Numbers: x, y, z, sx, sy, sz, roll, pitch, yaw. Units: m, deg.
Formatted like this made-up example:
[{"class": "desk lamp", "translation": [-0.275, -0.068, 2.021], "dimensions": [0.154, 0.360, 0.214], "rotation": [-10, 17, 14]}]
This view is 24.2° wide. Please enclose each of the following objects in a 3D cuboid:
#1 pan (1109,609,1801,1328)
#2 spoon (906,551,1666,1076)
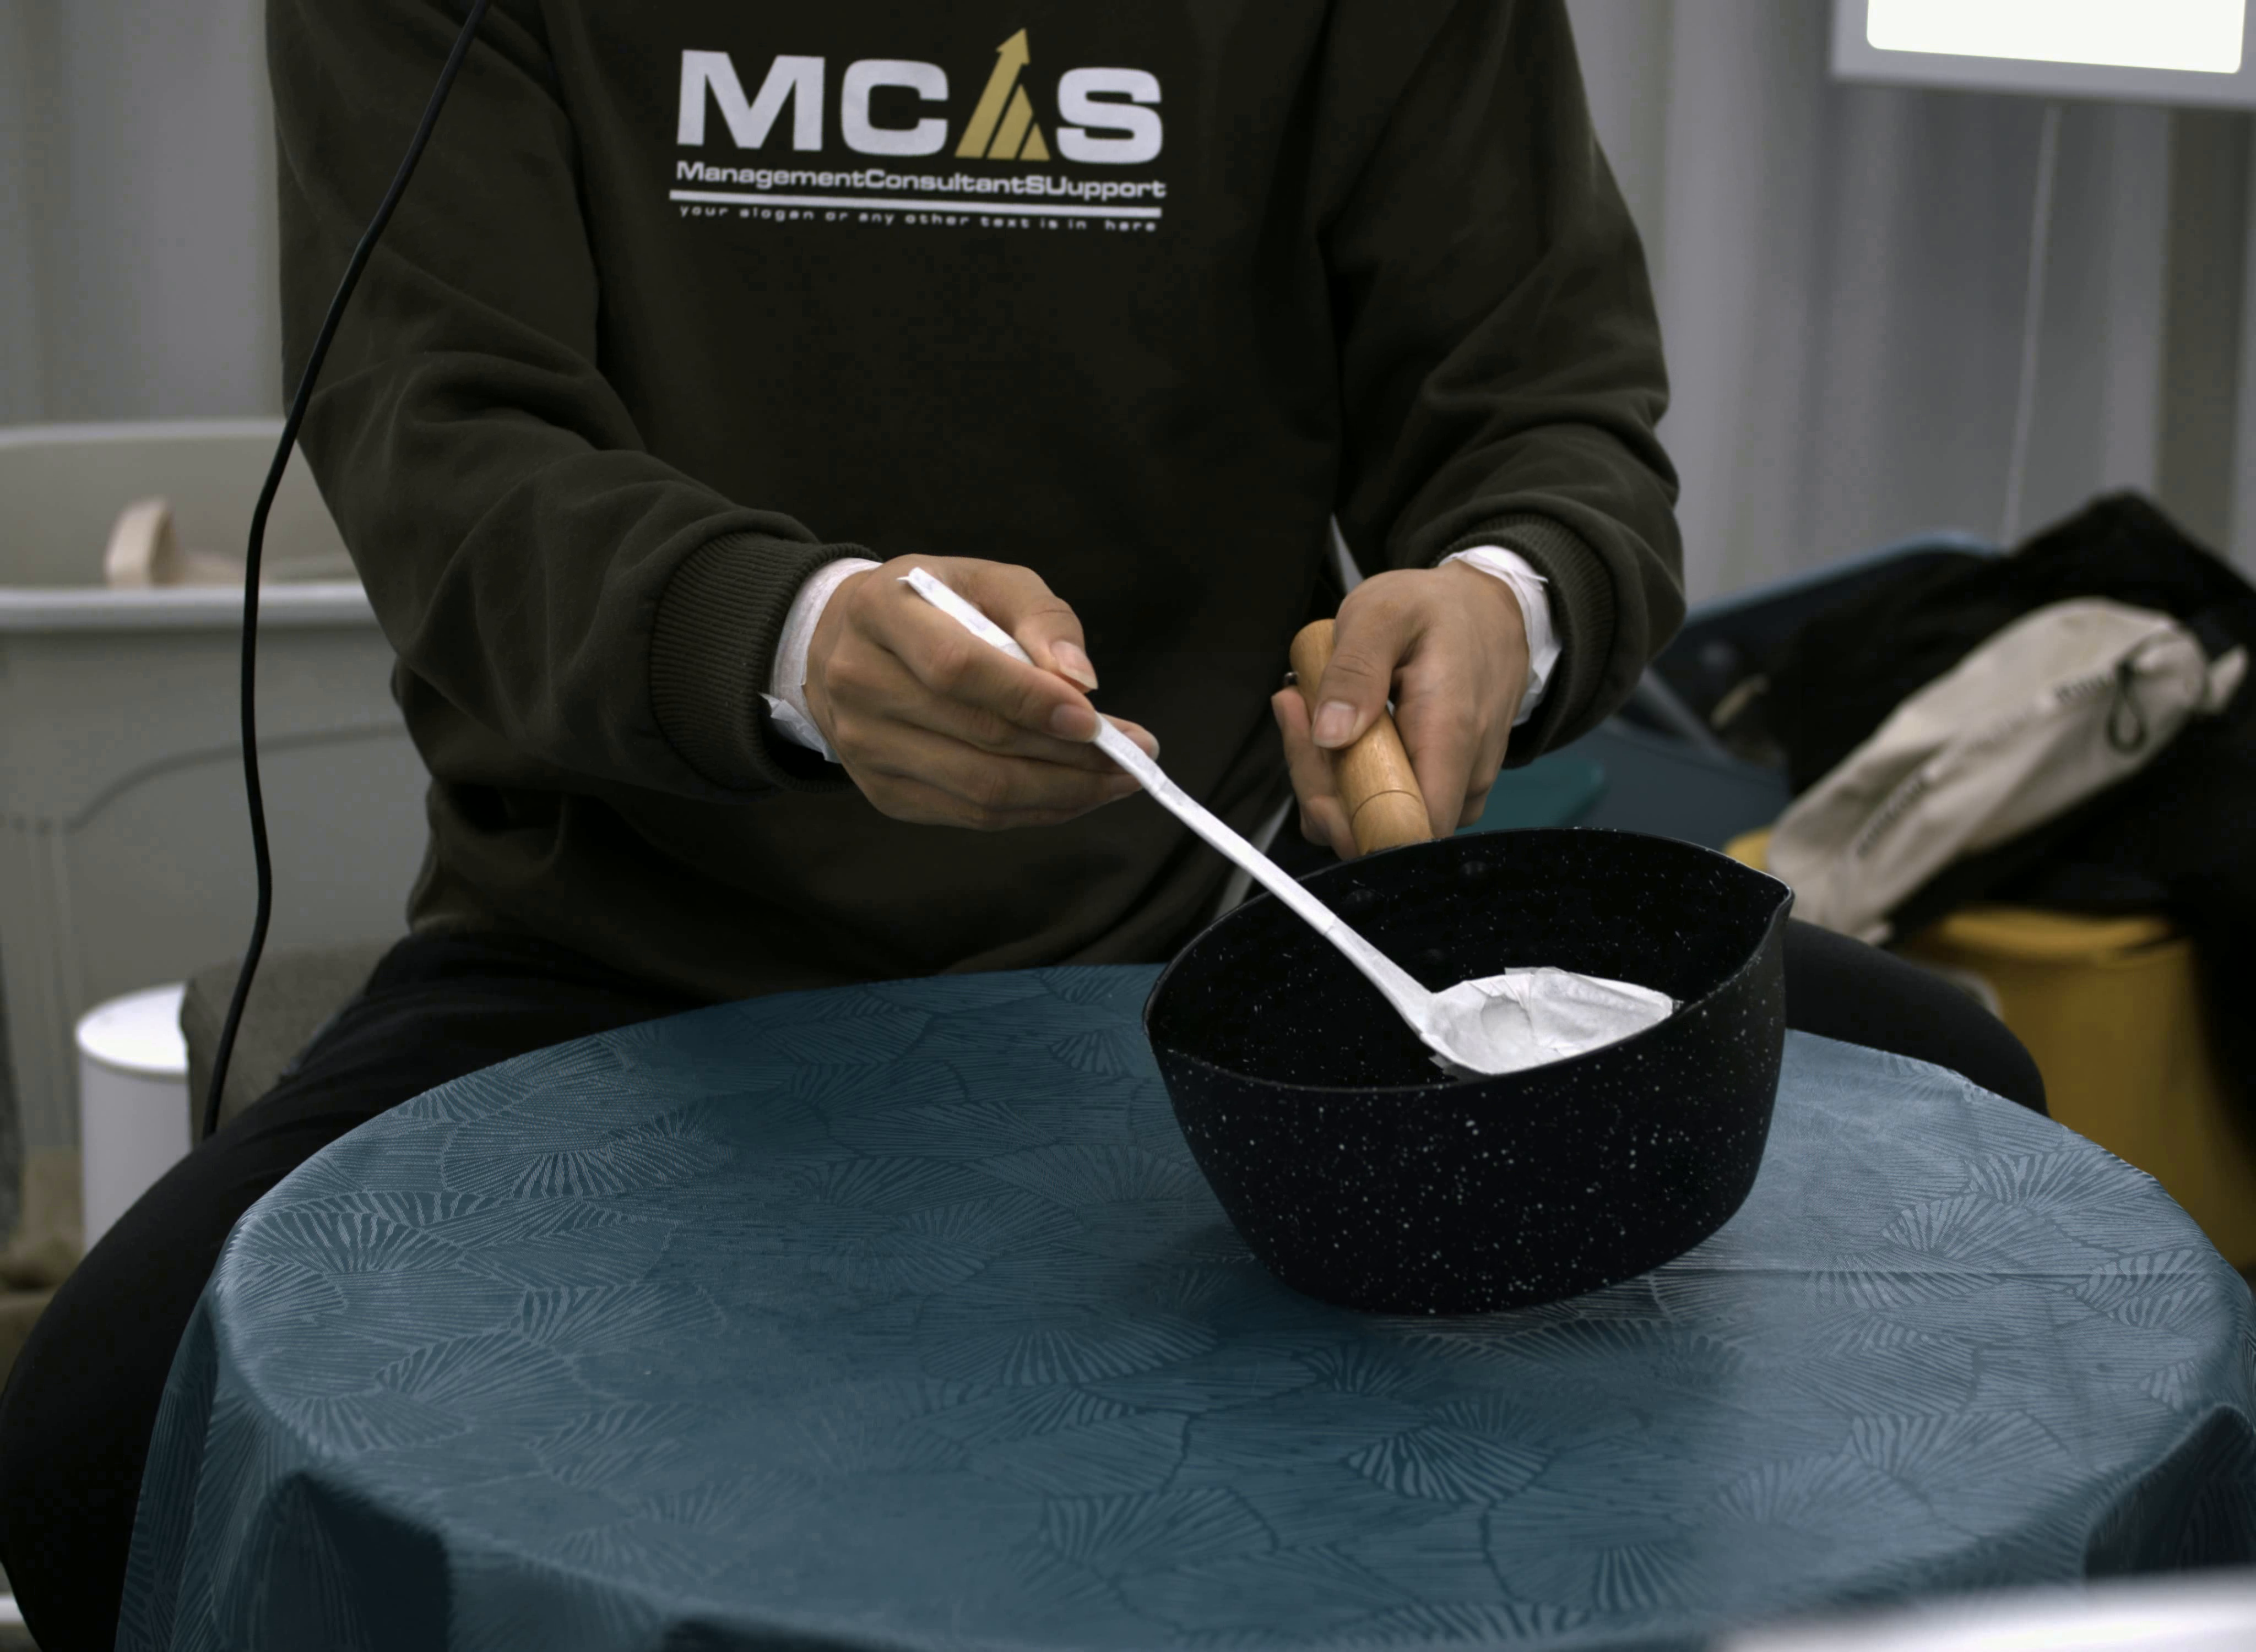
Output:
[{"class": "pan", "translation": [0.092, 0.037, 1.625], "dimensions": [0.207, 0.109, 0.339], "rotation": [-13, 23, -3]}, {"class": "spoon", "translation": [0.056, -0.007, 1.541], "dimensions": [0.277, 0.059, 0.100], "rotation": [42, 21, 1]}]
